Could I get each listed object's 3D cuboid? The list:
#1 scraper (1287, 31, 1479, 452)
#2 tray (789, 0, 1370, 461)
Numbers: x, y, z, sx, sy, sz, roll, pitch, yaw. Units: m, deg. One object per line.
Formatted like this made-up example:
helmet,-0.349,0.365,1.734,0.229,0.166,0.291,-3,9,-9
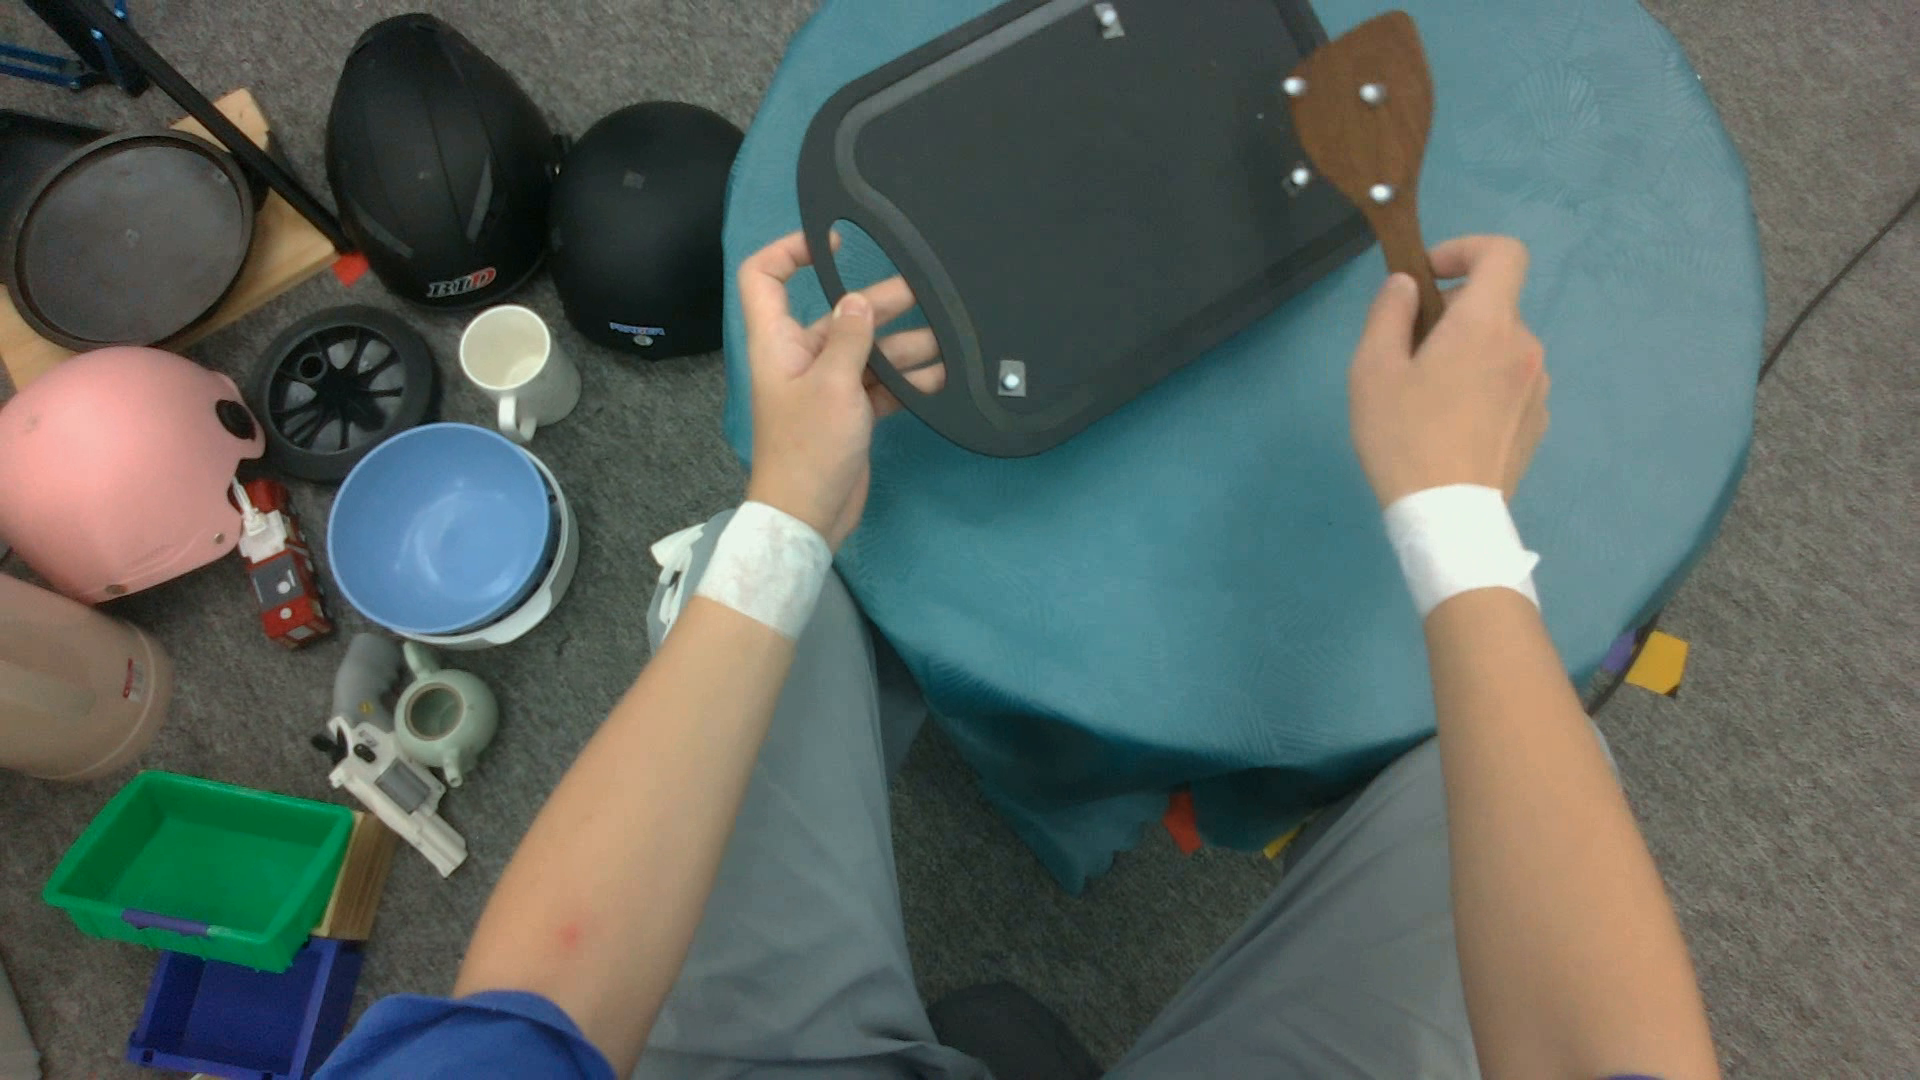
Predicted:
scraper,0.219,-0.146,0.685,0.075,0.011,0.211,-20,76,38
tray,0.071,-0.187,0.737,0.326,0.010,0.211,-33,94,-16
